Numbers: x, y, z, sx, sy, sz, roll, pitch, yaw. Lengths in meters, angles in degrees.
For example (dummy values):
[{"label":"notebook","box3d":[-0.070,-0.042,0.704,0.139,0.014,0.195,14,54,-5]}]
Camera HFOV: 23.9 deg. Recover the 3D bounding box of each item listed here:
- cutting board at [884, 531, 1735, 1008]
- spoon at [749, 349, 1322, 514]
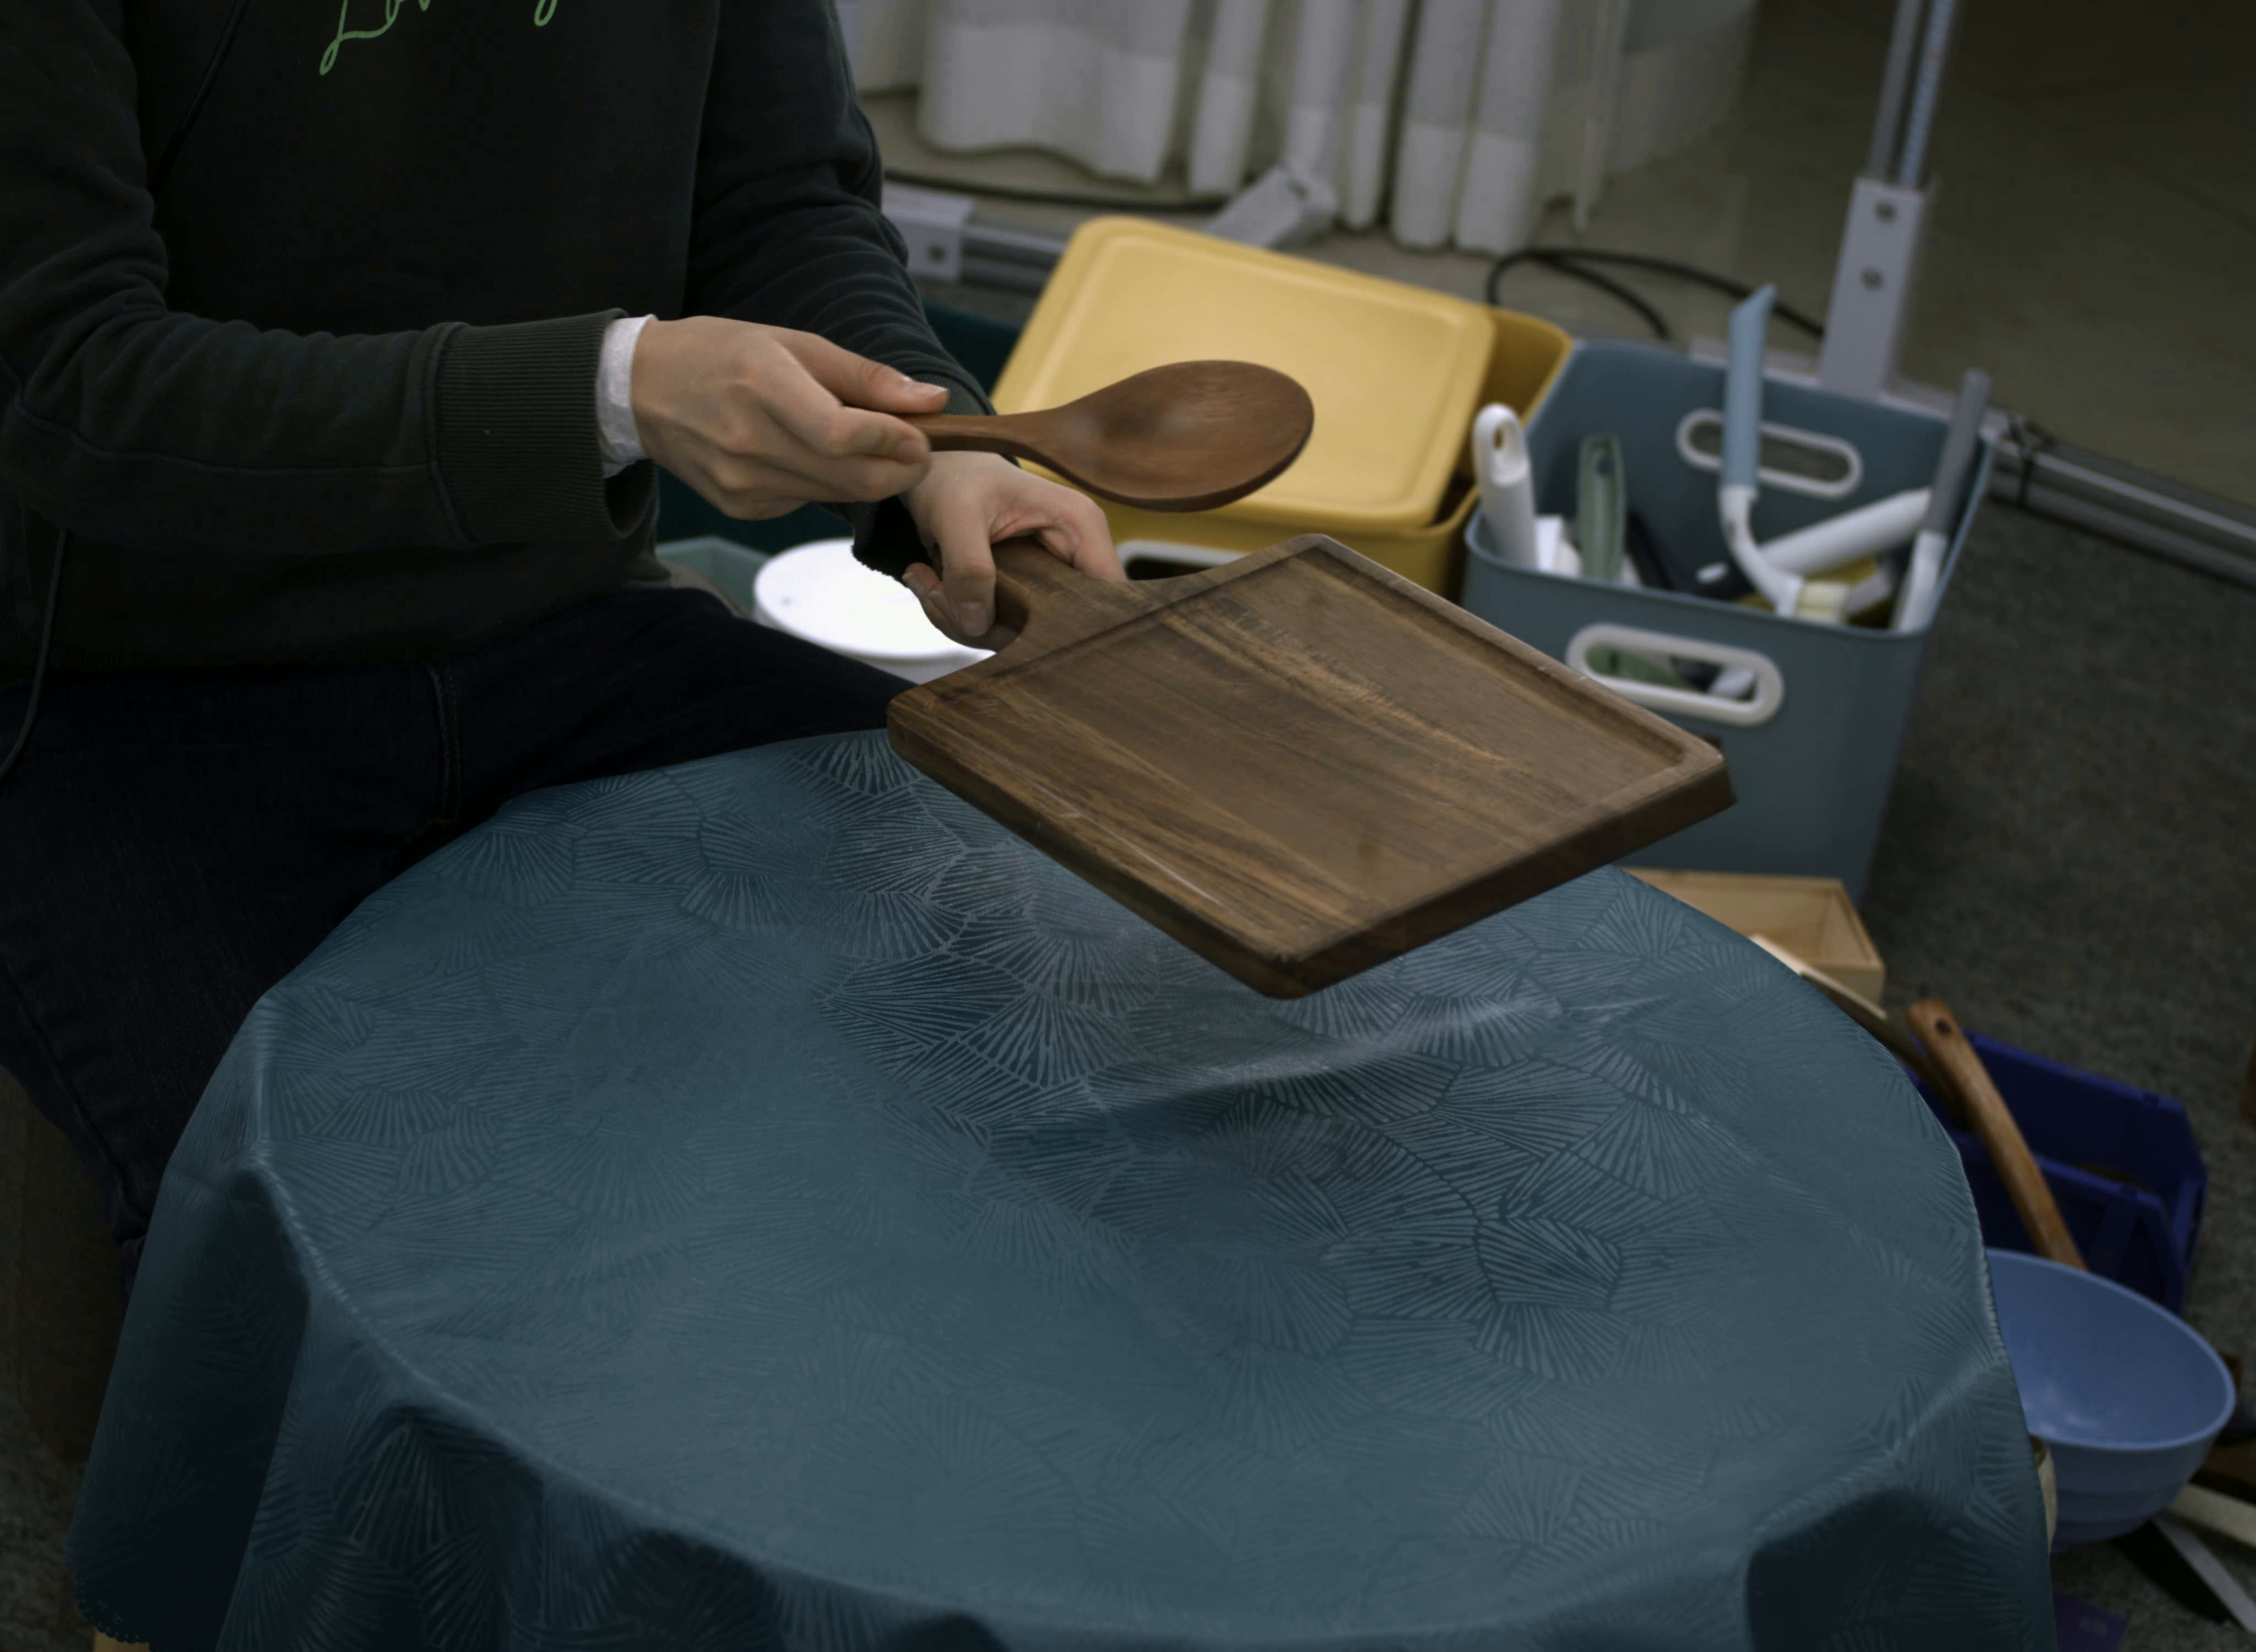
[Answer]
[{"label":"cutting board","box3d":[0.033,-0.041,1.898,0.200,0.023,0.355,-24,32,-26]},{"label":"spoon","box3d":[-0.033,-0.138,1.866,0.216,0.017,0.076,3,50,22]}]
